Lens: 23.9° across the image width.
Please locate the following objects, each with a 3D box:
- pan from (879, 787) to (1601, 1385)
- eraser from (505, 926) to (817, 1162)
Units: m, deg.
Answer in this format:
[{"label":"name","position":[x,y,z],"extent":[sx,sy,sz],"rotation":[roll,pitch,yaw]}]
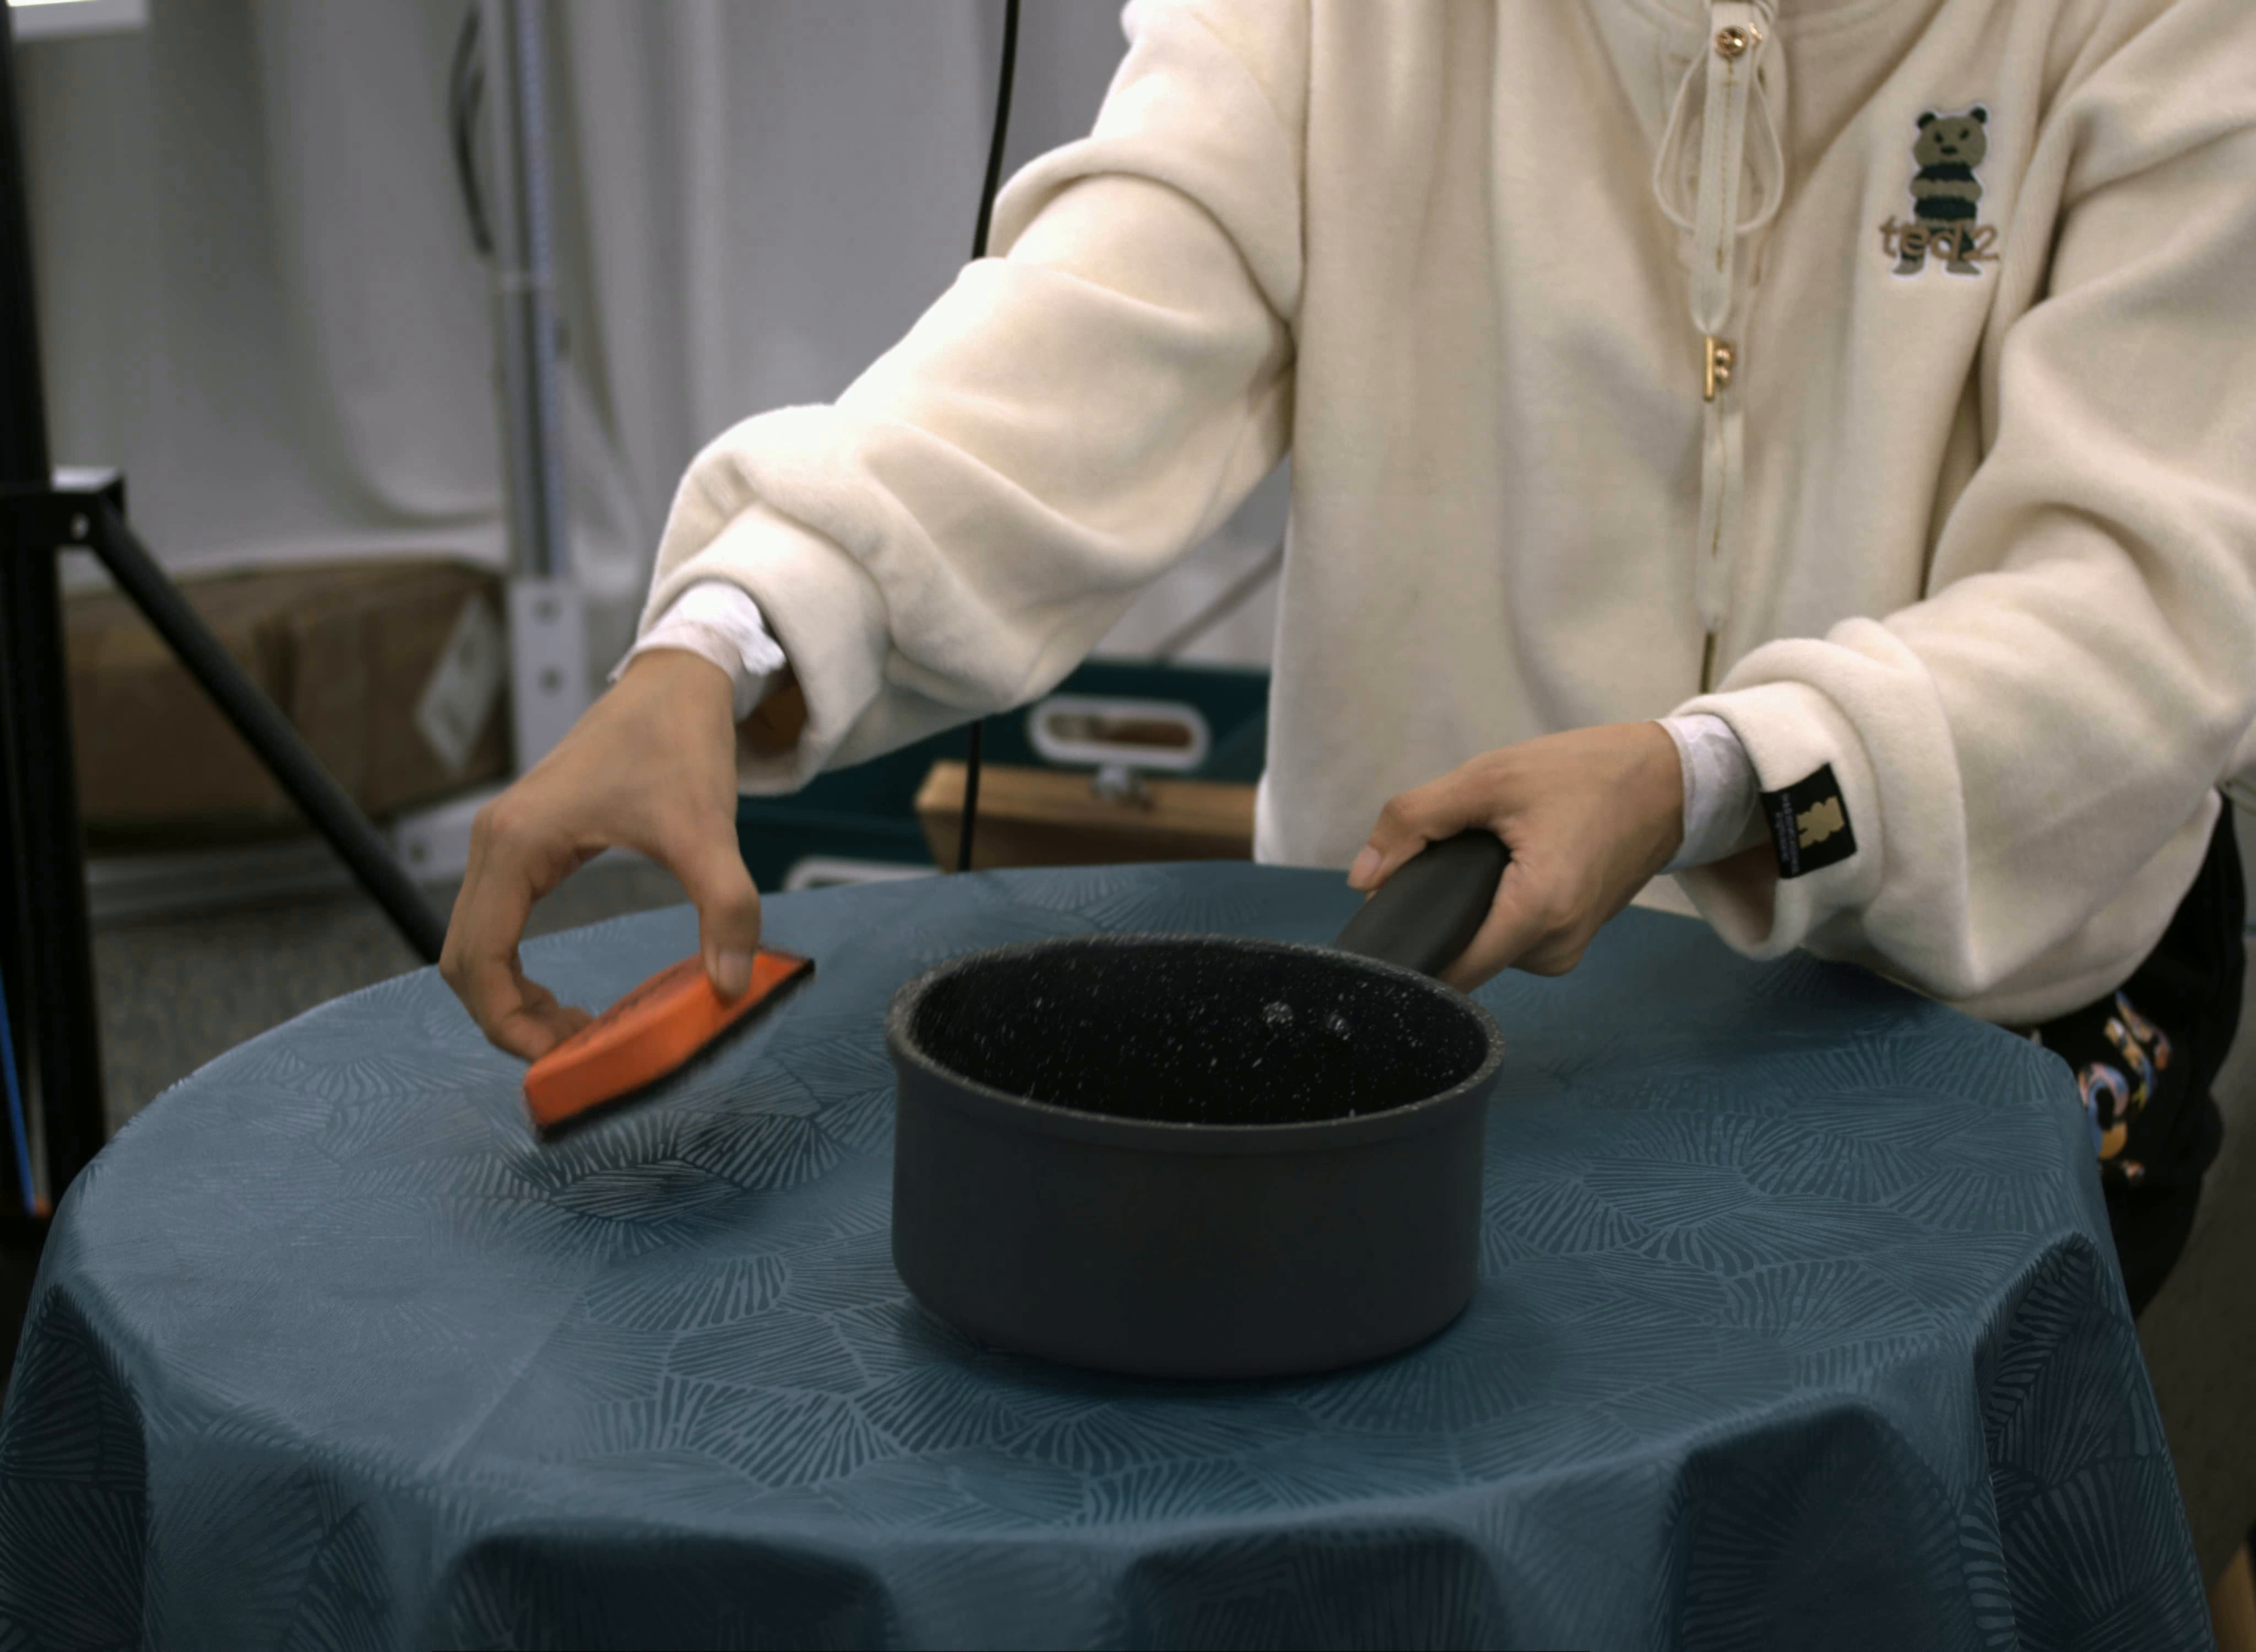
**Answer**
[{"label":"pan","position":[0.053,0.070,1.525],"extent":[0.175,0.086,0.323],"rotation":[10,20,27]},{"label":"eraser","position":[-0.138,0.064,1.592],"extent":[0.060,0.023,0.107],"rotation":[-24,8,28]}]
